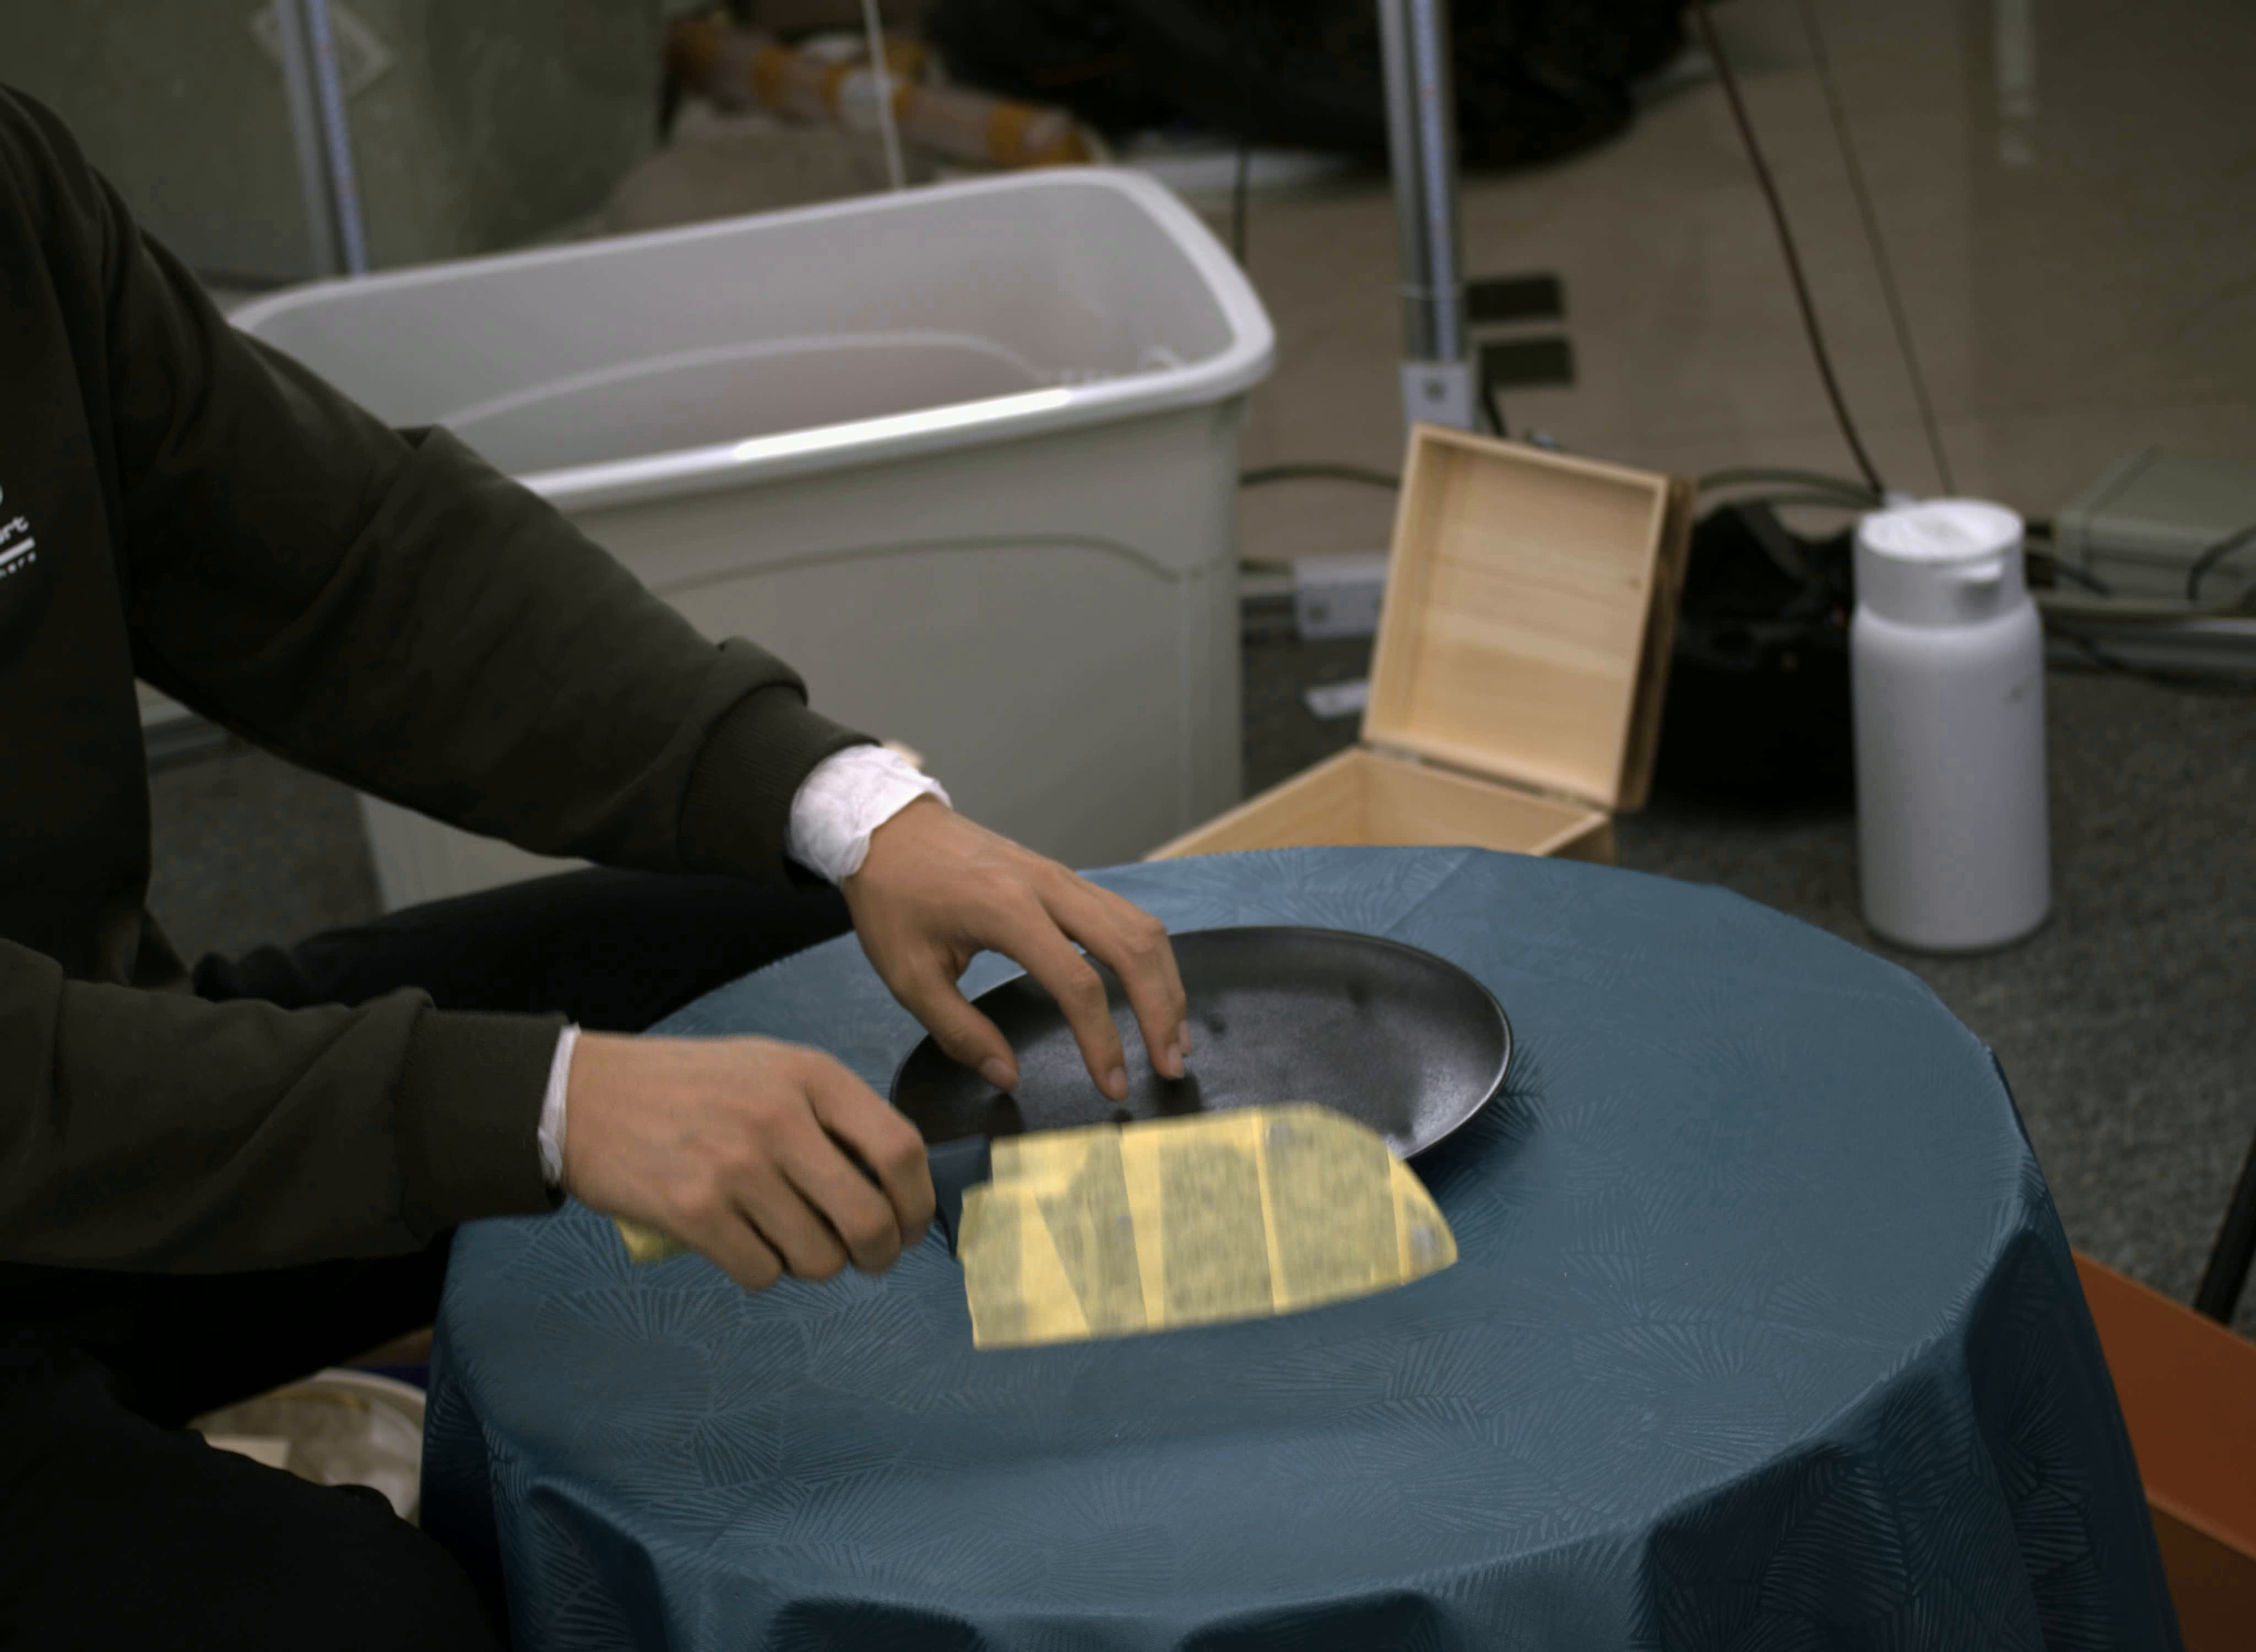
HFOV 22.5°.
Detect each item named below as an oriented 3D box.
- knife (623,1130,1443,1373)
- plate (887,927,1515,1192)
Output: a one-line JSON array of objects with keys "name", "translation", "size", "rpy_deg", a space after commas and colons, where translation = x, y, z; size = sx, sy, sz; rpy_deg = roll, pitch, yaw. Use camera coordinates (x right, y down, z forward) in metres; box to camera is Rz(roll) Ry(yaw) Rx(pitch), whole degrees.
[{"name": "knife", "translation": [-0.033, 0.152, 1.990], "size": [0.289, 0.027, 0.080], "rpy_deg": [-4, 70, 3]}, {"name": "plate", "translation": [0.029, 0.102, 2.197], "size": [0.244, 0.024, 0.241], "rpy_deg": [-5, 25, 3]}]
